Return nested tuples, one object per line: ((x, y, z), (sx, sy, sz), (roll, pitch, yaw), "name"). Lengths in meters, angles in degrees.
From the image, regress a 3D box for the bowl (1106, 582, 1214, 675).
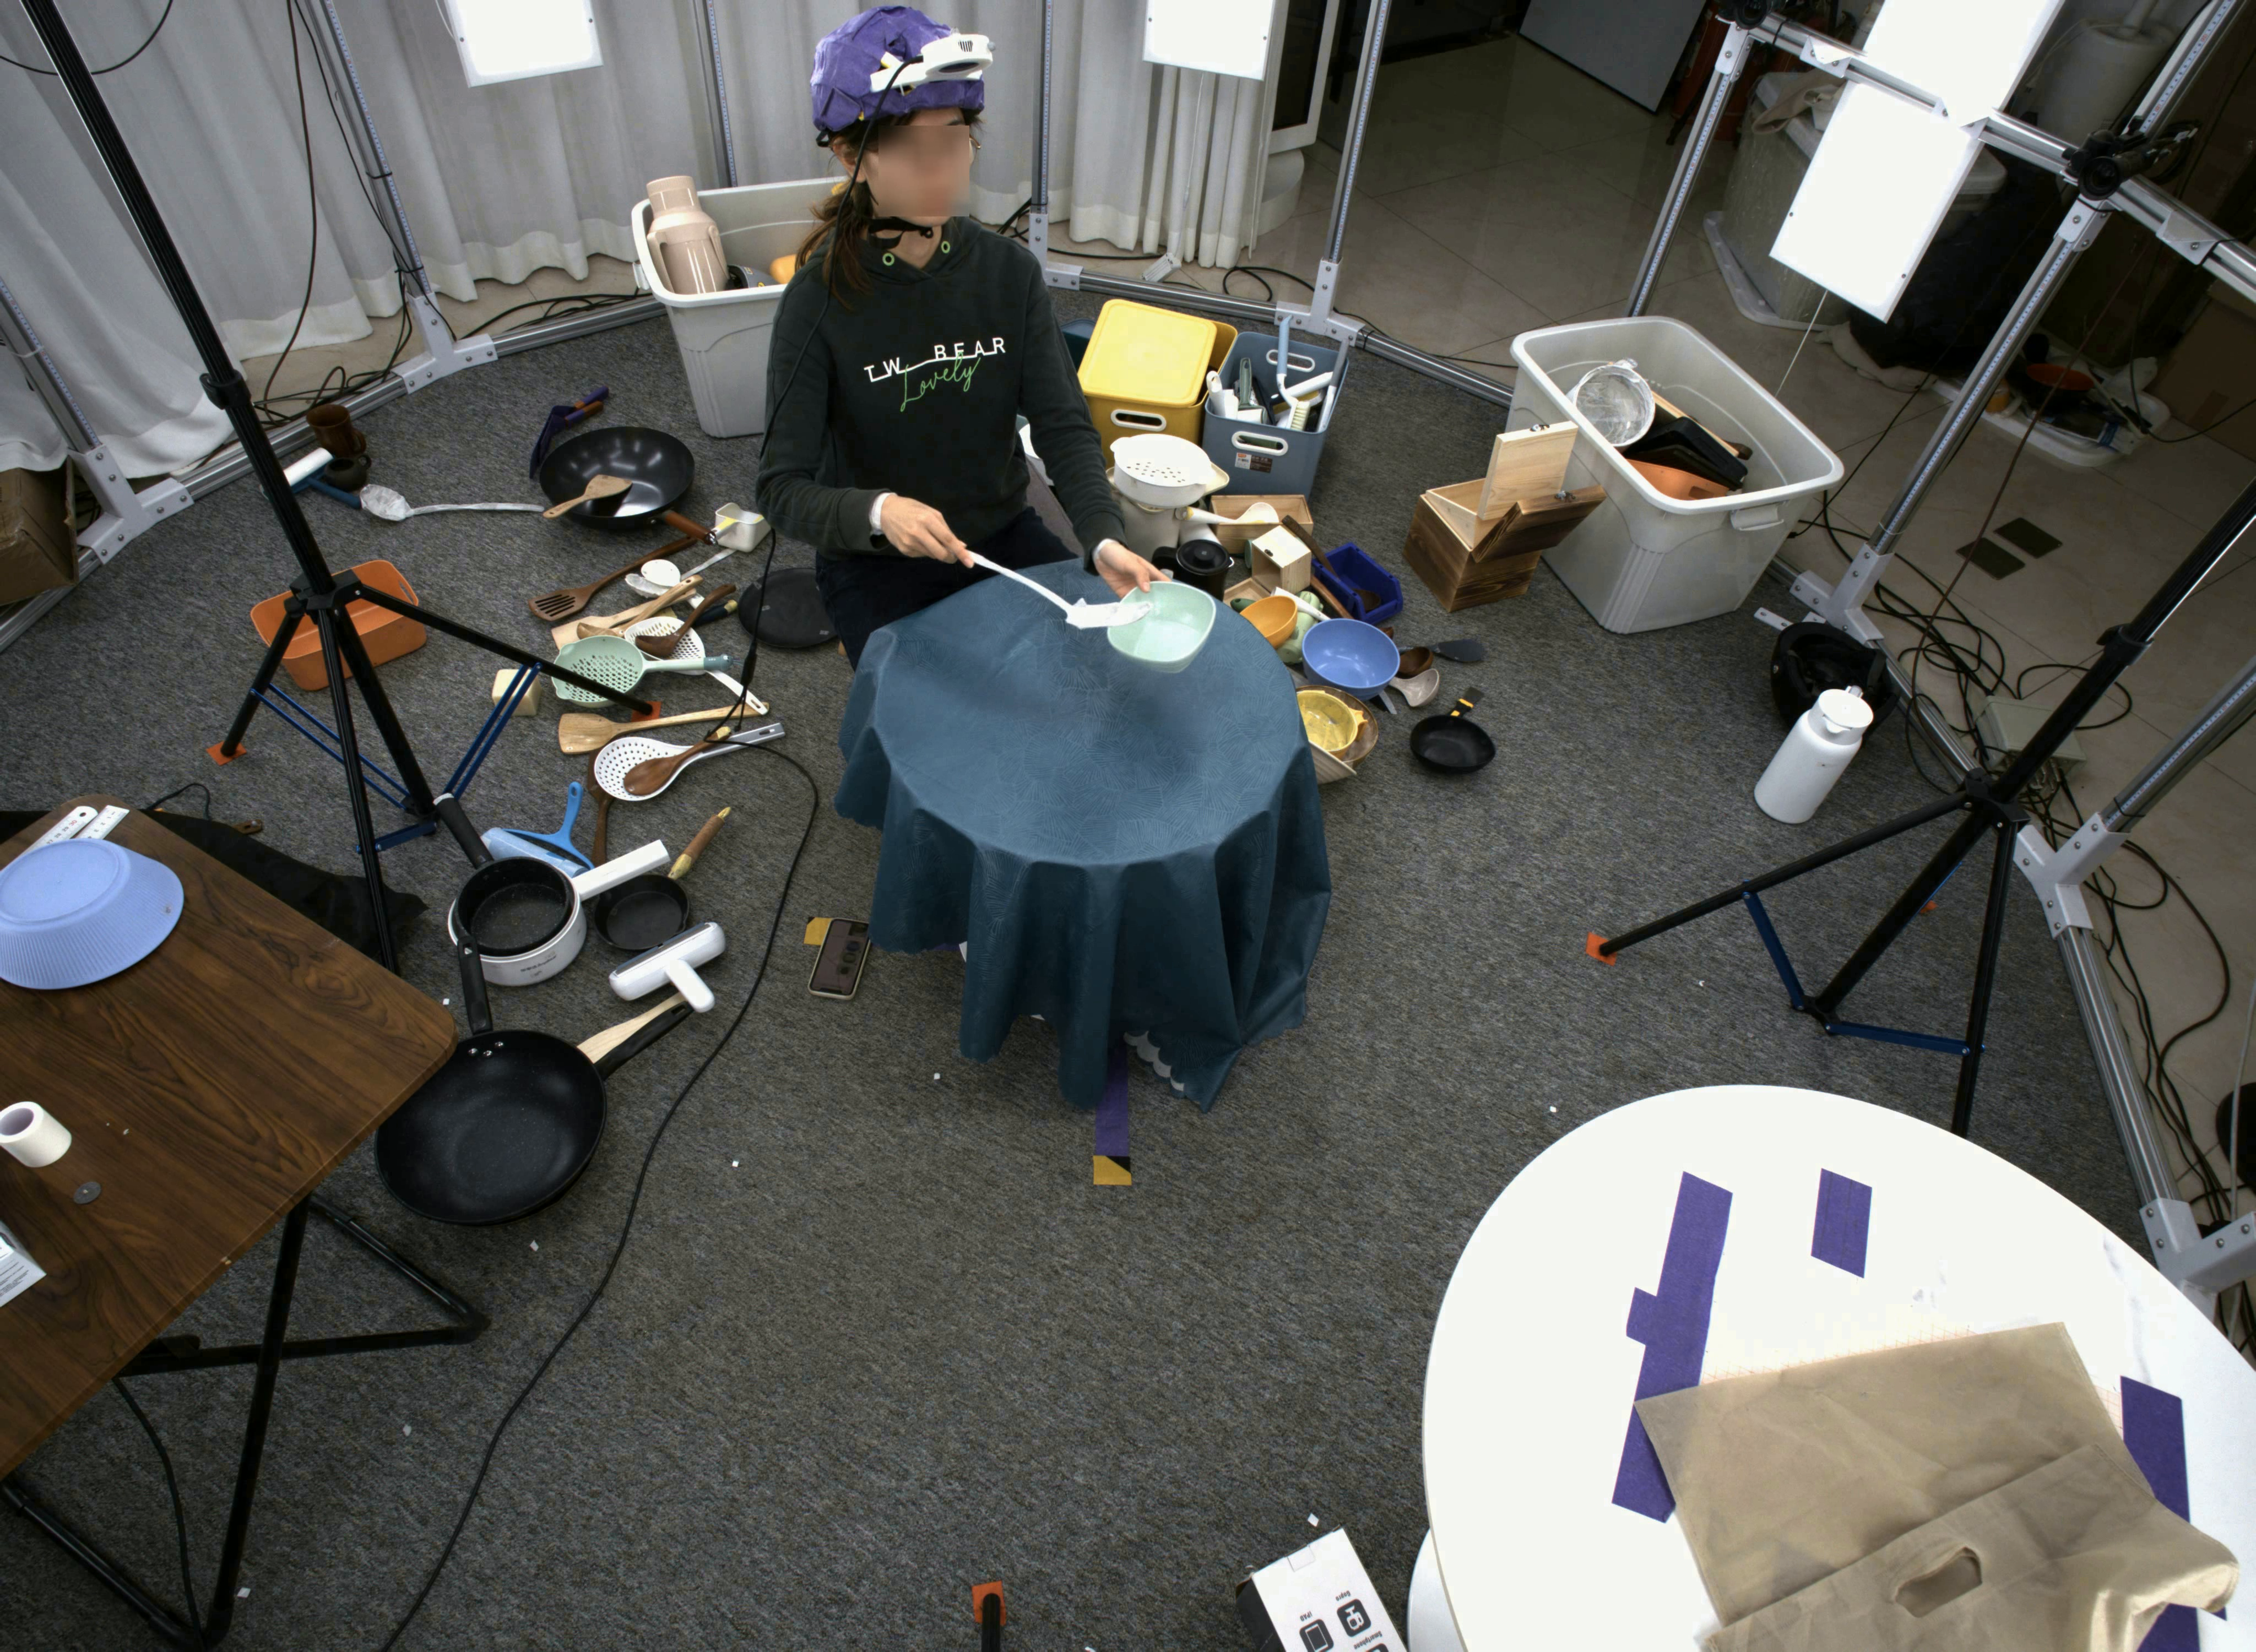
((0.047, -0.261, 1.758), (0.151, 0.057, 0.155), (-4, 58, 6), "bowl")

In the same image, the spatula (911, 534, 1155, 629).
((-0.138, -0.326, 1.682), (0.368, 0.044, 0.100), (27, 37, 17), "spatula")
